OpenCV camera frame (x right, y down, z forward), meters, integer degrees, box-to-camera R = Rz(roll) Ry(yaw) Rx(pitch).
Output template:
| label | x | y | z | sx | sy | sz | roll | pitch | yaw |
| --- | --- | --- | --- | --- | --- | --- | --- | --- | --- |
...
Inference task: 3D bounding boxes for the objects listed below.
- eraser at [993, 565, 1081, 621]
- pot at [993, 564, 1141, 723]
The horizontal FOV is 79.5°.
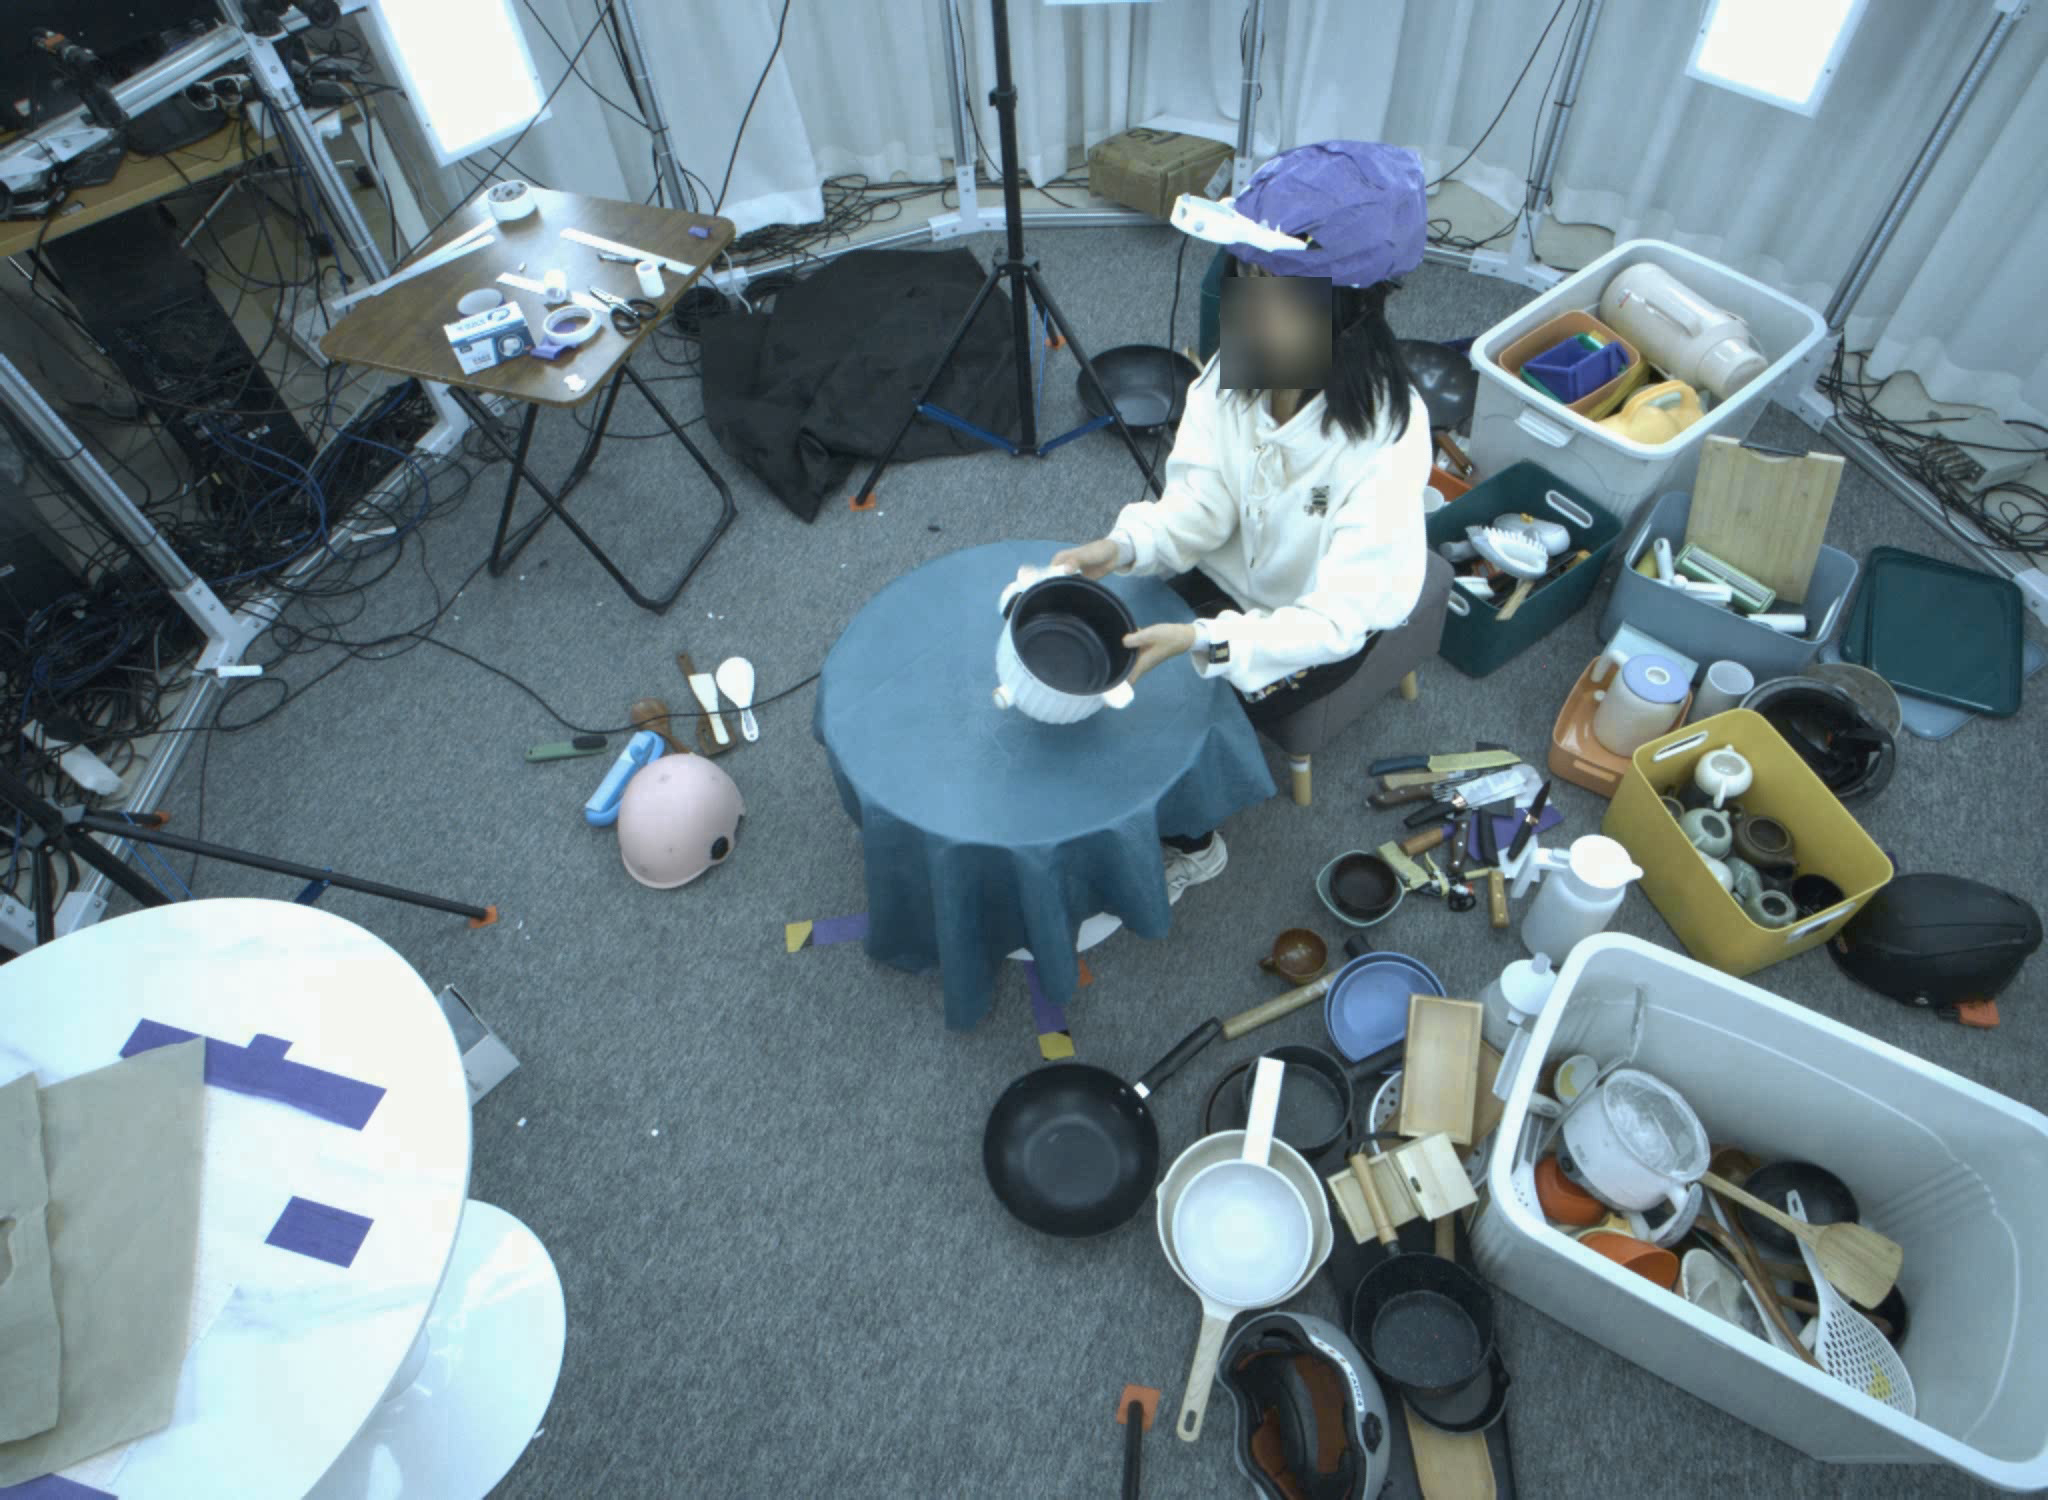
| label | x | y | z | sx | sy | sz | roll | pitch | yaw |
| --- | --- | --- | --- | --- | --- | --- | --- | --- | --- |
| eraser | 0.019 | -0.226 | 1.740 | 0.133 | 0.063 | 0.034 | -24 | 76 | -29 |
| pot | 0.050 | -0.128 | 1.704 | 0.192 | 0.142 | 0.239 | -32 | 80 | -29 |
